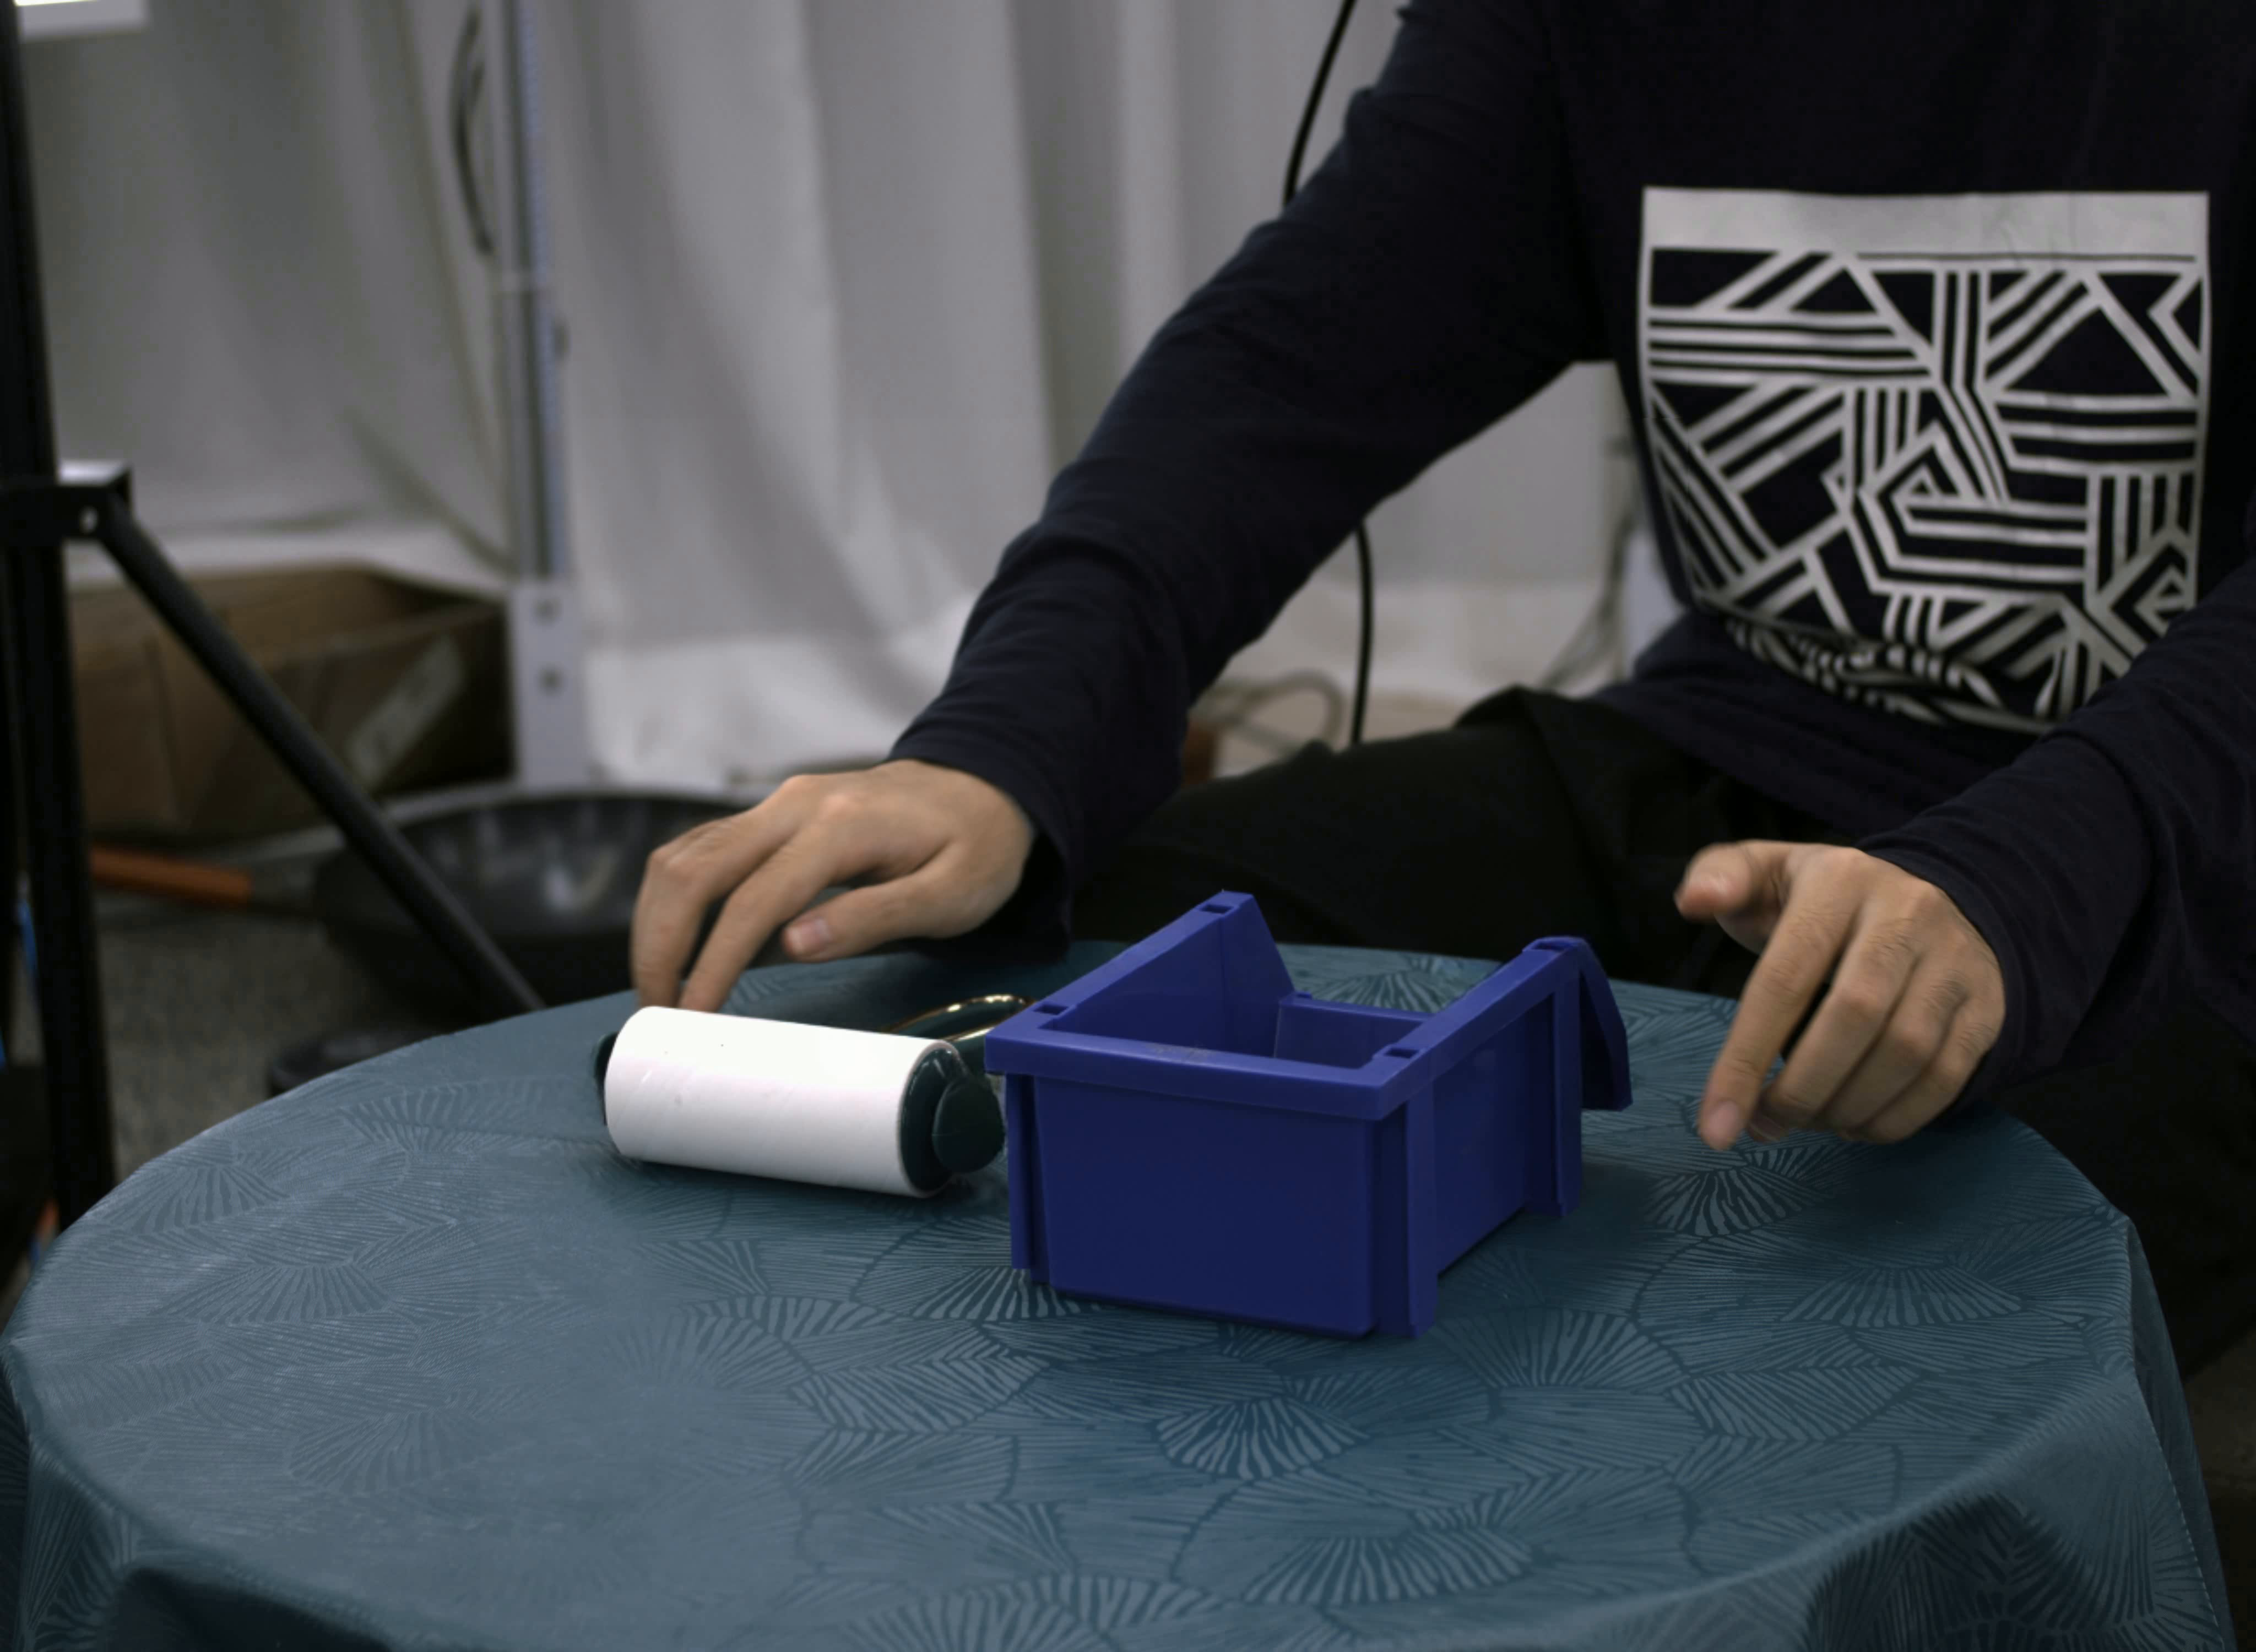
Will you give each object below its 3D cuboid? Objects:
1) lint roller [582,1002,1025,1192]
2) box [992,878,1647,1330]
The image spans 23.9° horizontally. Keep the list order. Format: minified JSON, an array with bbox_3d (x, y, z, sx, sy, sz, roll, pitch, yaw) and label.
[{"bbox_3d":[-0.073,0.069,1.643,0.136,0.048,0.177,5,13,26],"label":"lint roller"},{"bbox_3d":[0.057,0.075,1.521,0.126,0.082,0.176,5,20,29],"label":"box"}]
